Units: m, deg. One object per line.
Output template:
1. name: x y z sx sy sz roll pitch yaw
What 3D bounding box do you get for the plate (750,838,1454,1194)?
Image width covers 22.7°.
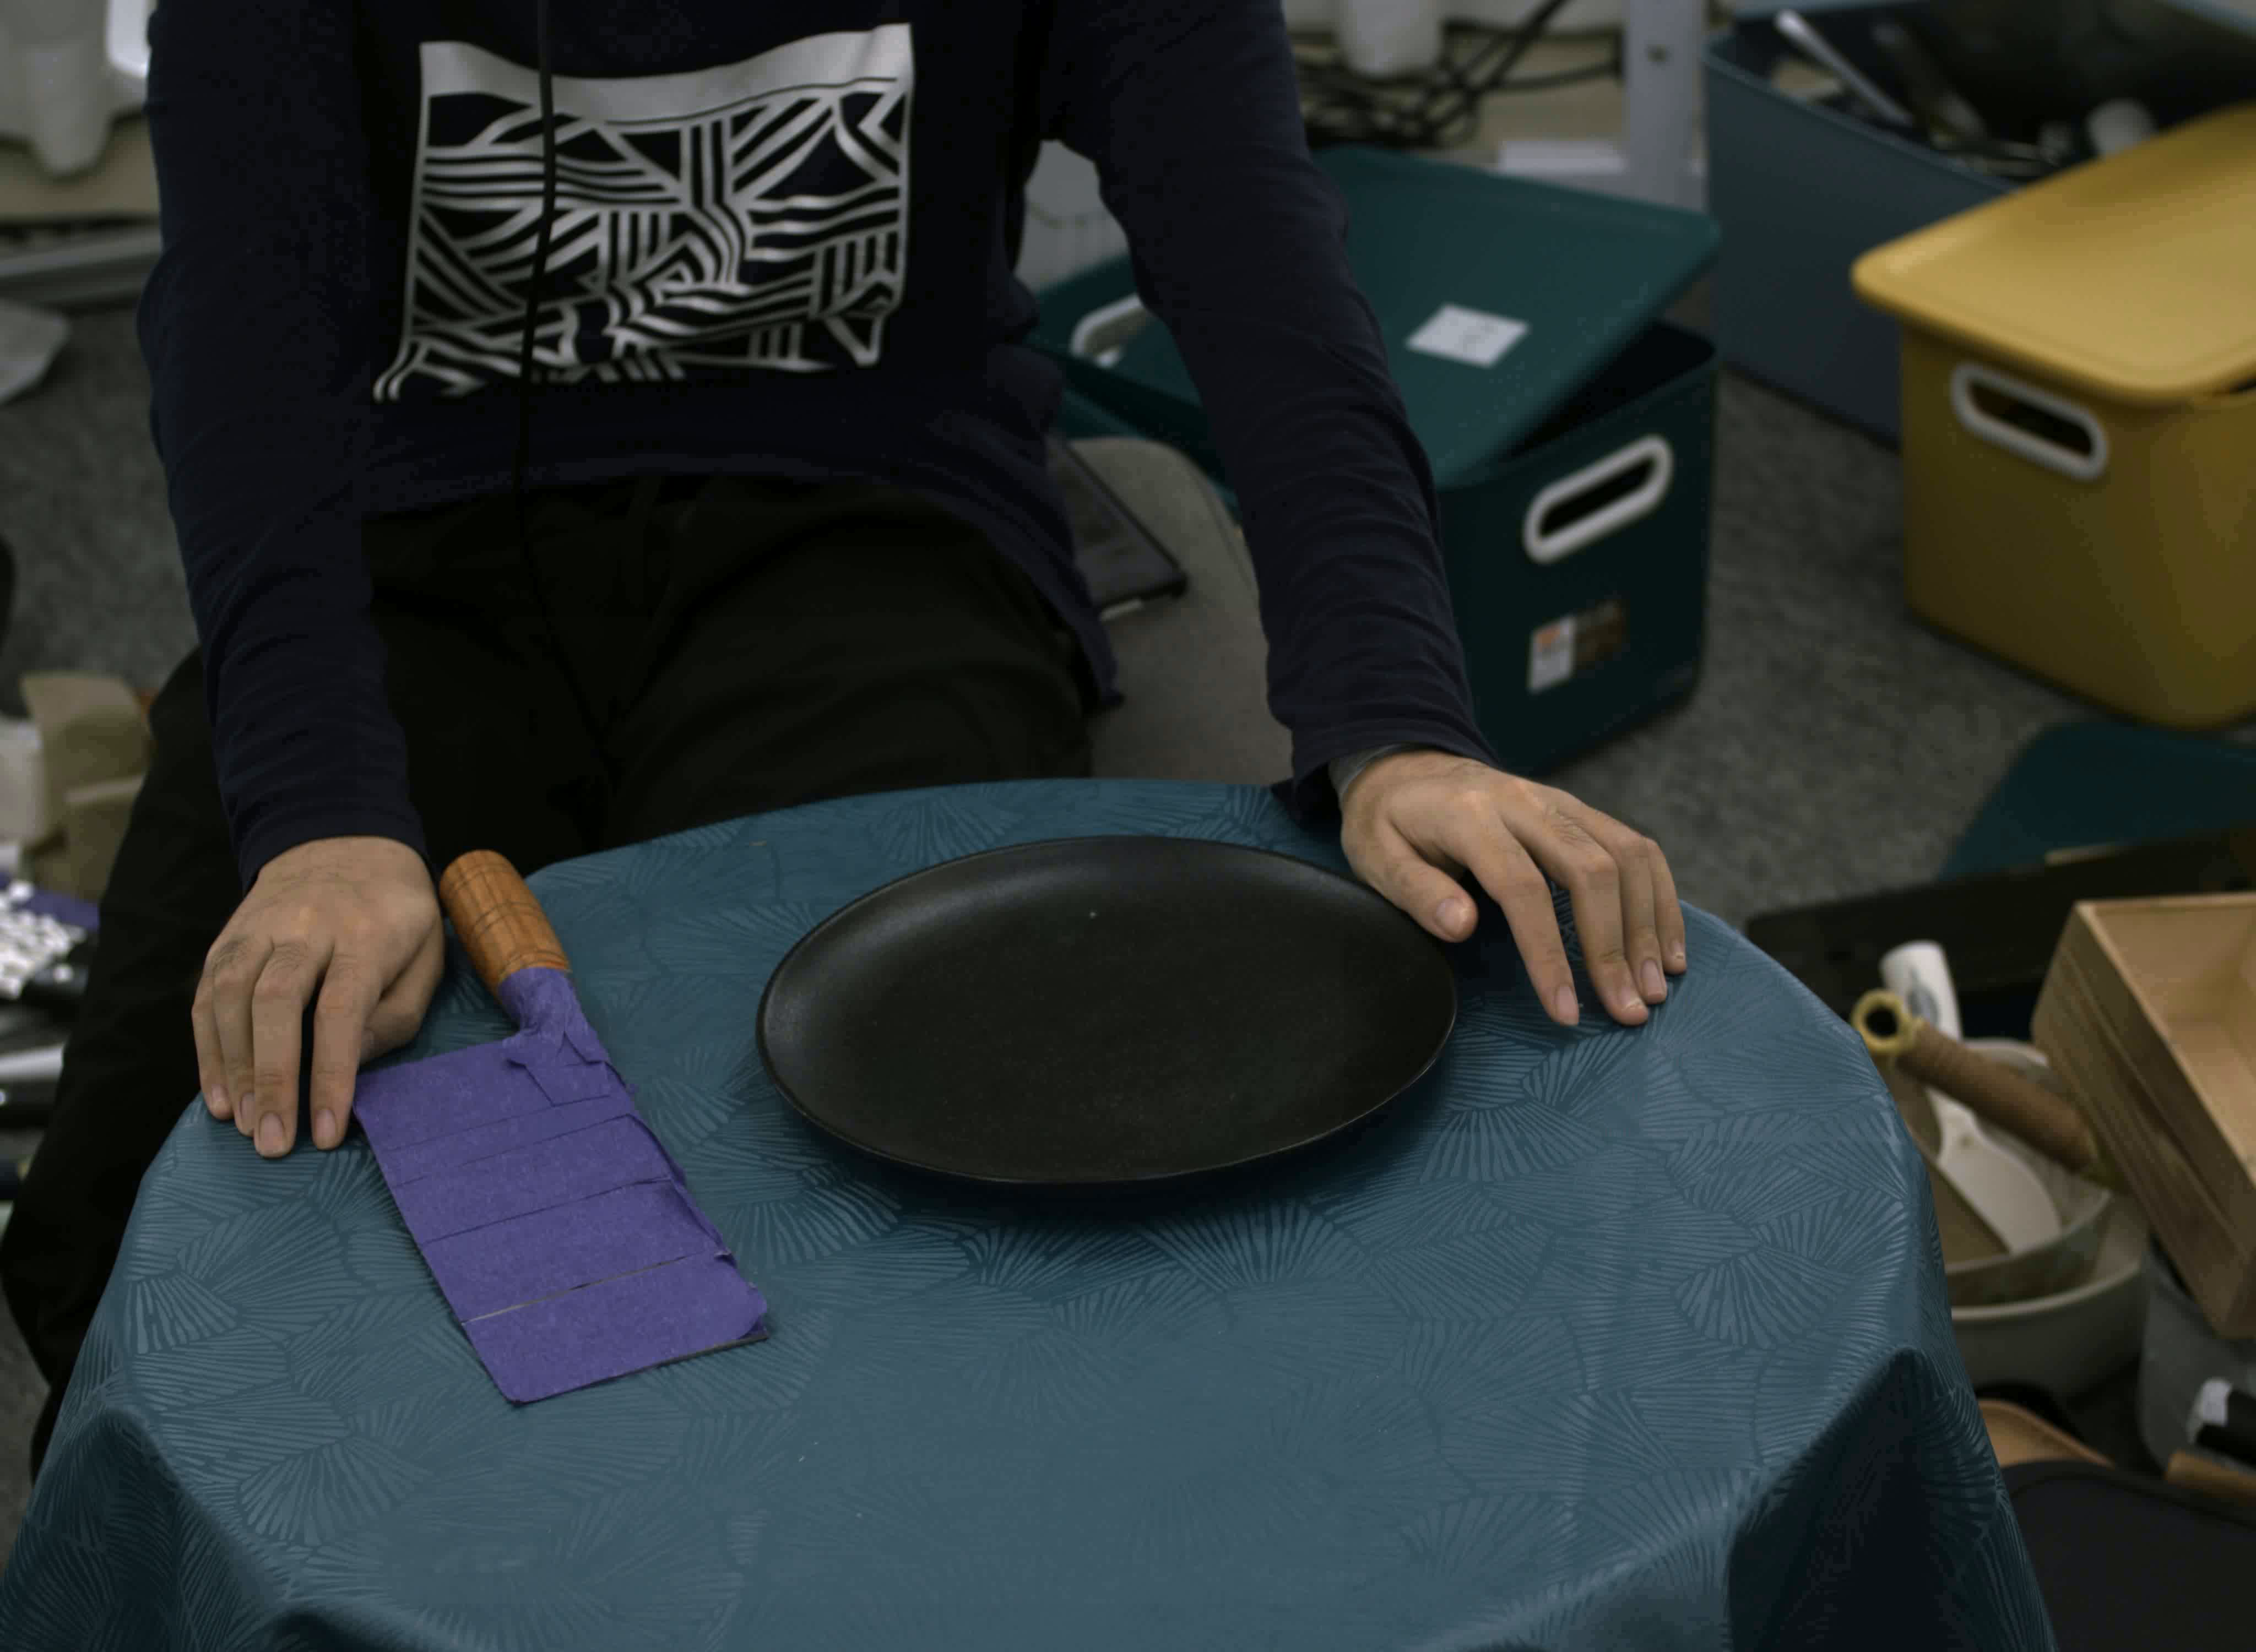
1. plate: -0.009 0.069 1.940 0.243 0.023 0.248 -2 27 1

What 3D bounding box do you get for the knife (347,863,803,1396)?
1. knife: -0.209 0.098 1.898 0.104 0.032 0.317 -12 29 -19
